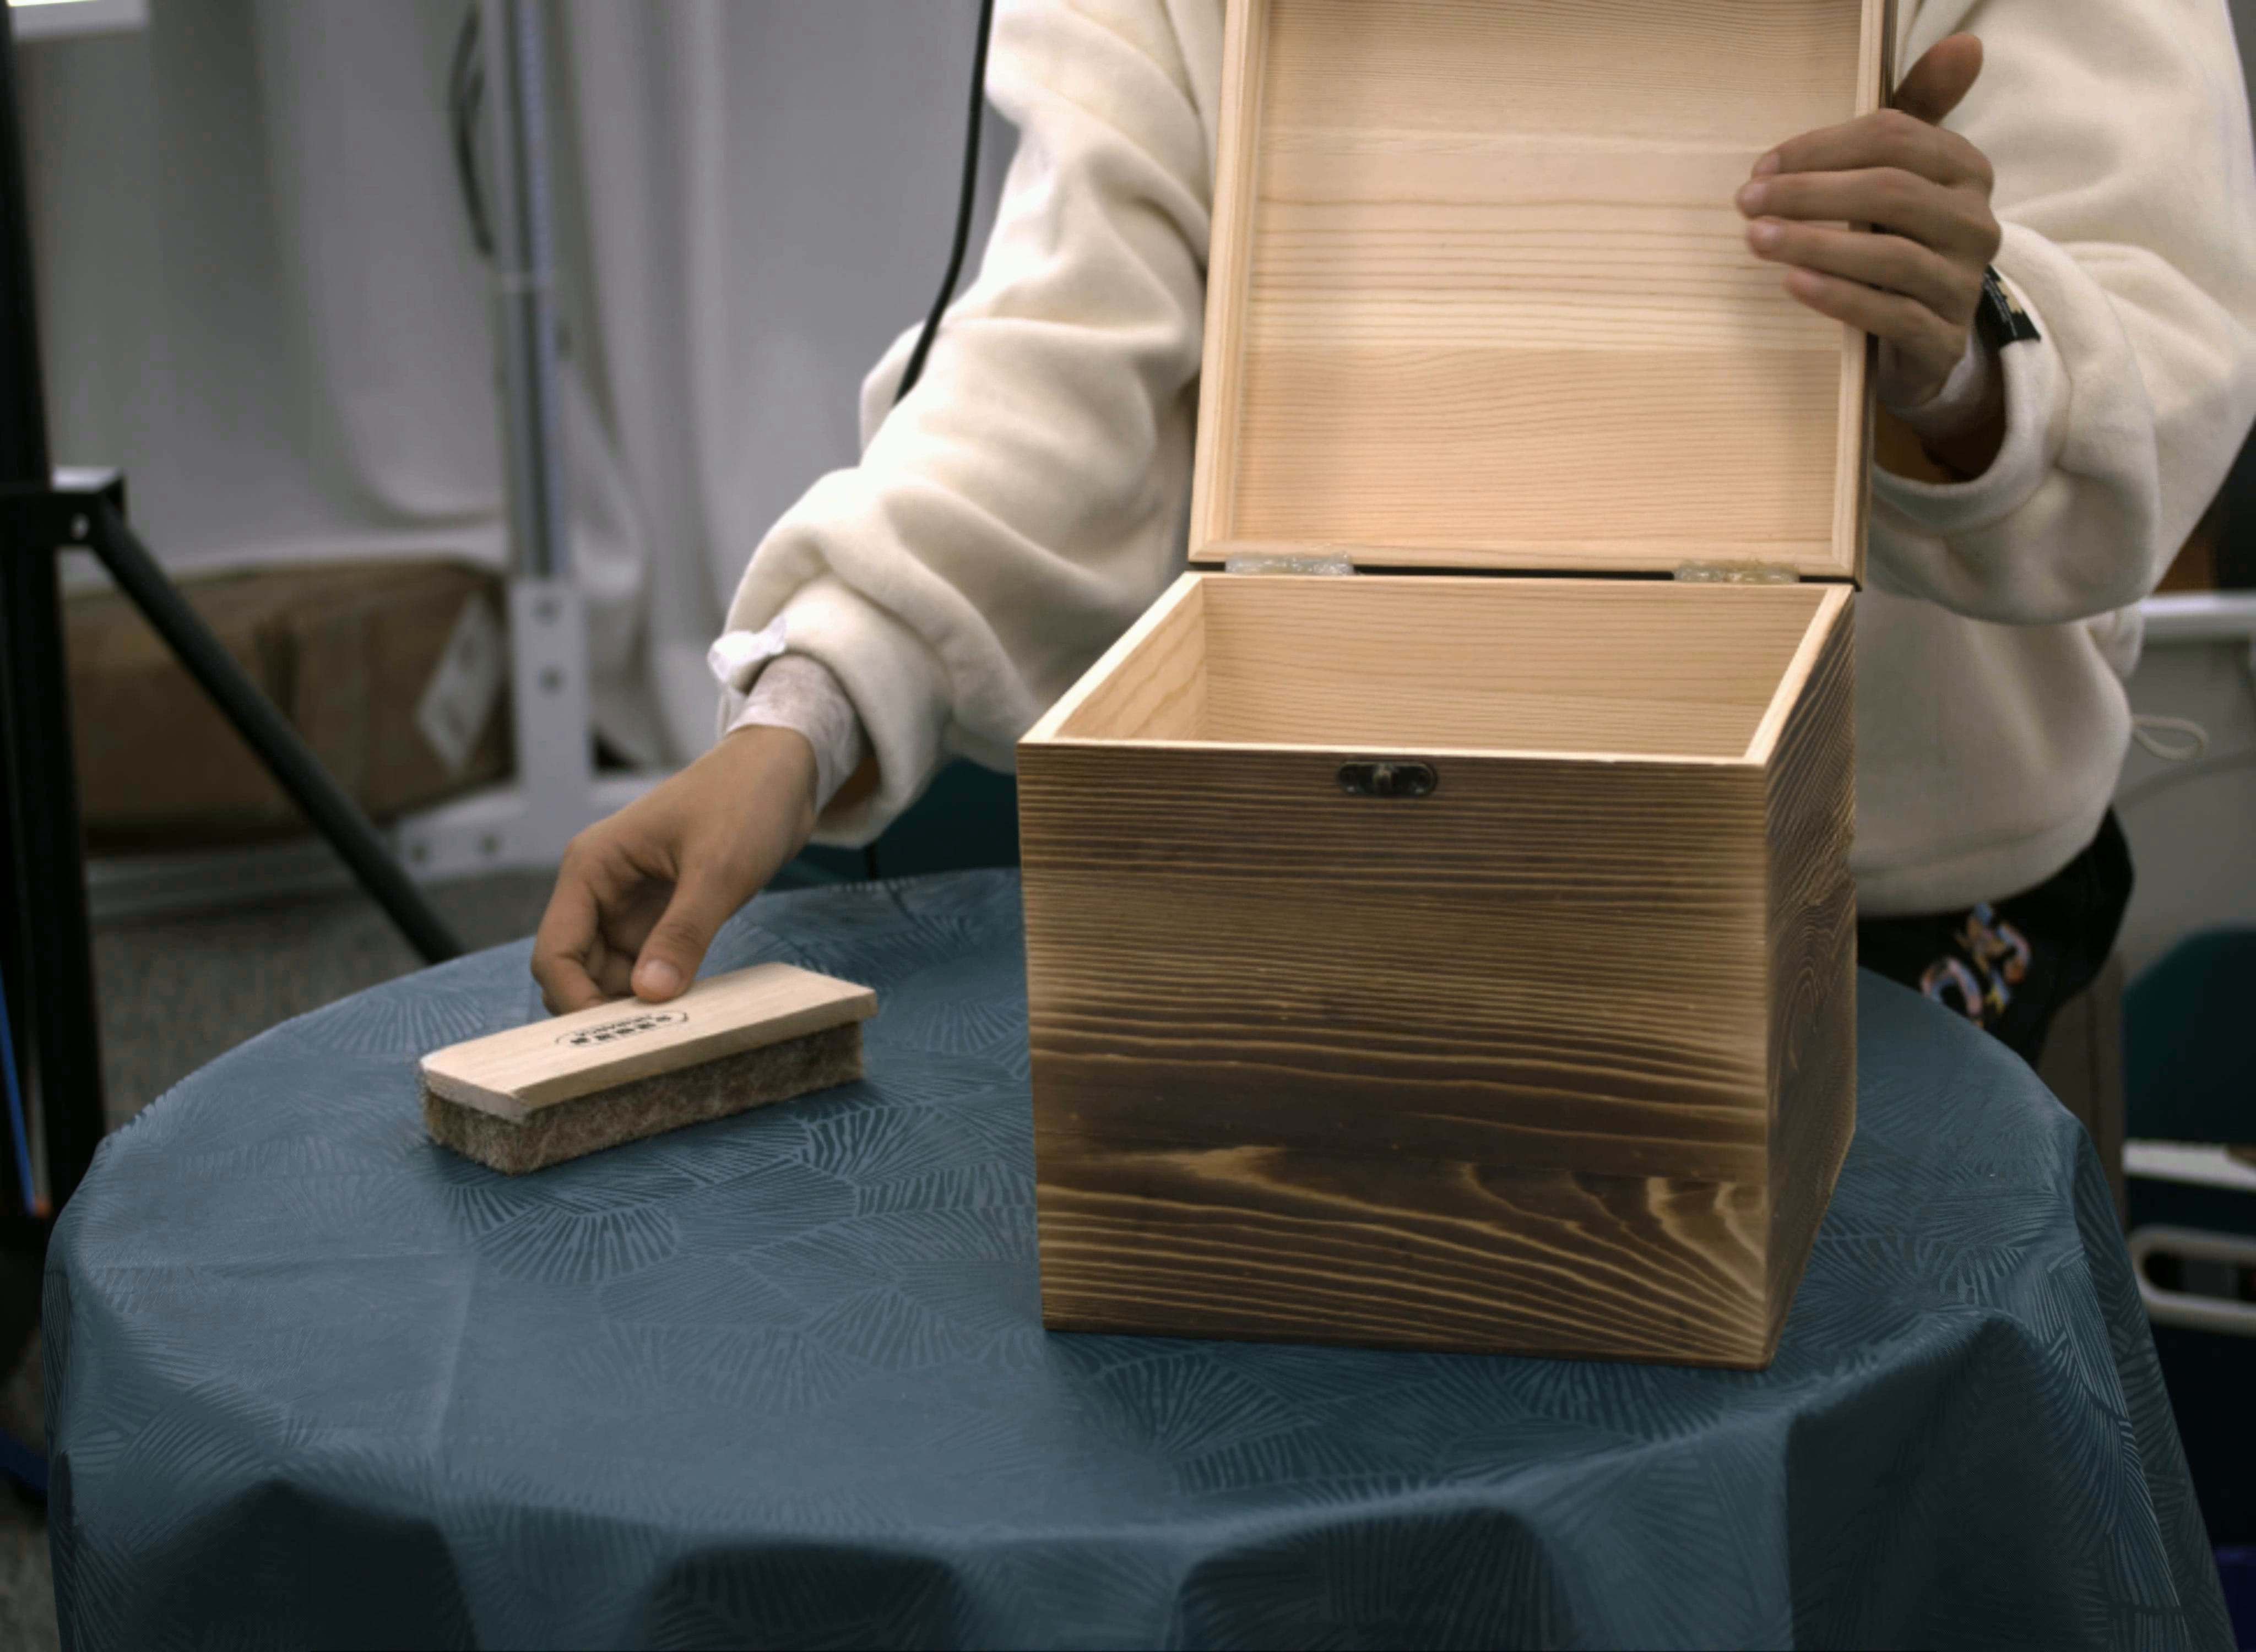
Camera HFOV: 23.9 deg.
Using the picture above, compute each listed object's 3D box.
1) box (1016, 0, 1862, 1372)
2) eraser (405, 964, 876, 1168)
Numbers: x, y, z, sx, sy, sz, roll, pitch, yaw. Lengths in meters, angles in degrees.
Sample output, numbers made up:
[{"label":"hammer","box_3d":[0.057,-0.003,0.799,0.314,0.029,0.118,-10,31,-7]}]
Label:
[{"label":"box","box_3d":[0.100,-0.073,1.516,0.210,0.375,0.320,1,16,14]},{"label":"eraser","box_3d":[-0.150,0.073,1.652,0.136,0.029,0.058,-13,16,-34]}]
